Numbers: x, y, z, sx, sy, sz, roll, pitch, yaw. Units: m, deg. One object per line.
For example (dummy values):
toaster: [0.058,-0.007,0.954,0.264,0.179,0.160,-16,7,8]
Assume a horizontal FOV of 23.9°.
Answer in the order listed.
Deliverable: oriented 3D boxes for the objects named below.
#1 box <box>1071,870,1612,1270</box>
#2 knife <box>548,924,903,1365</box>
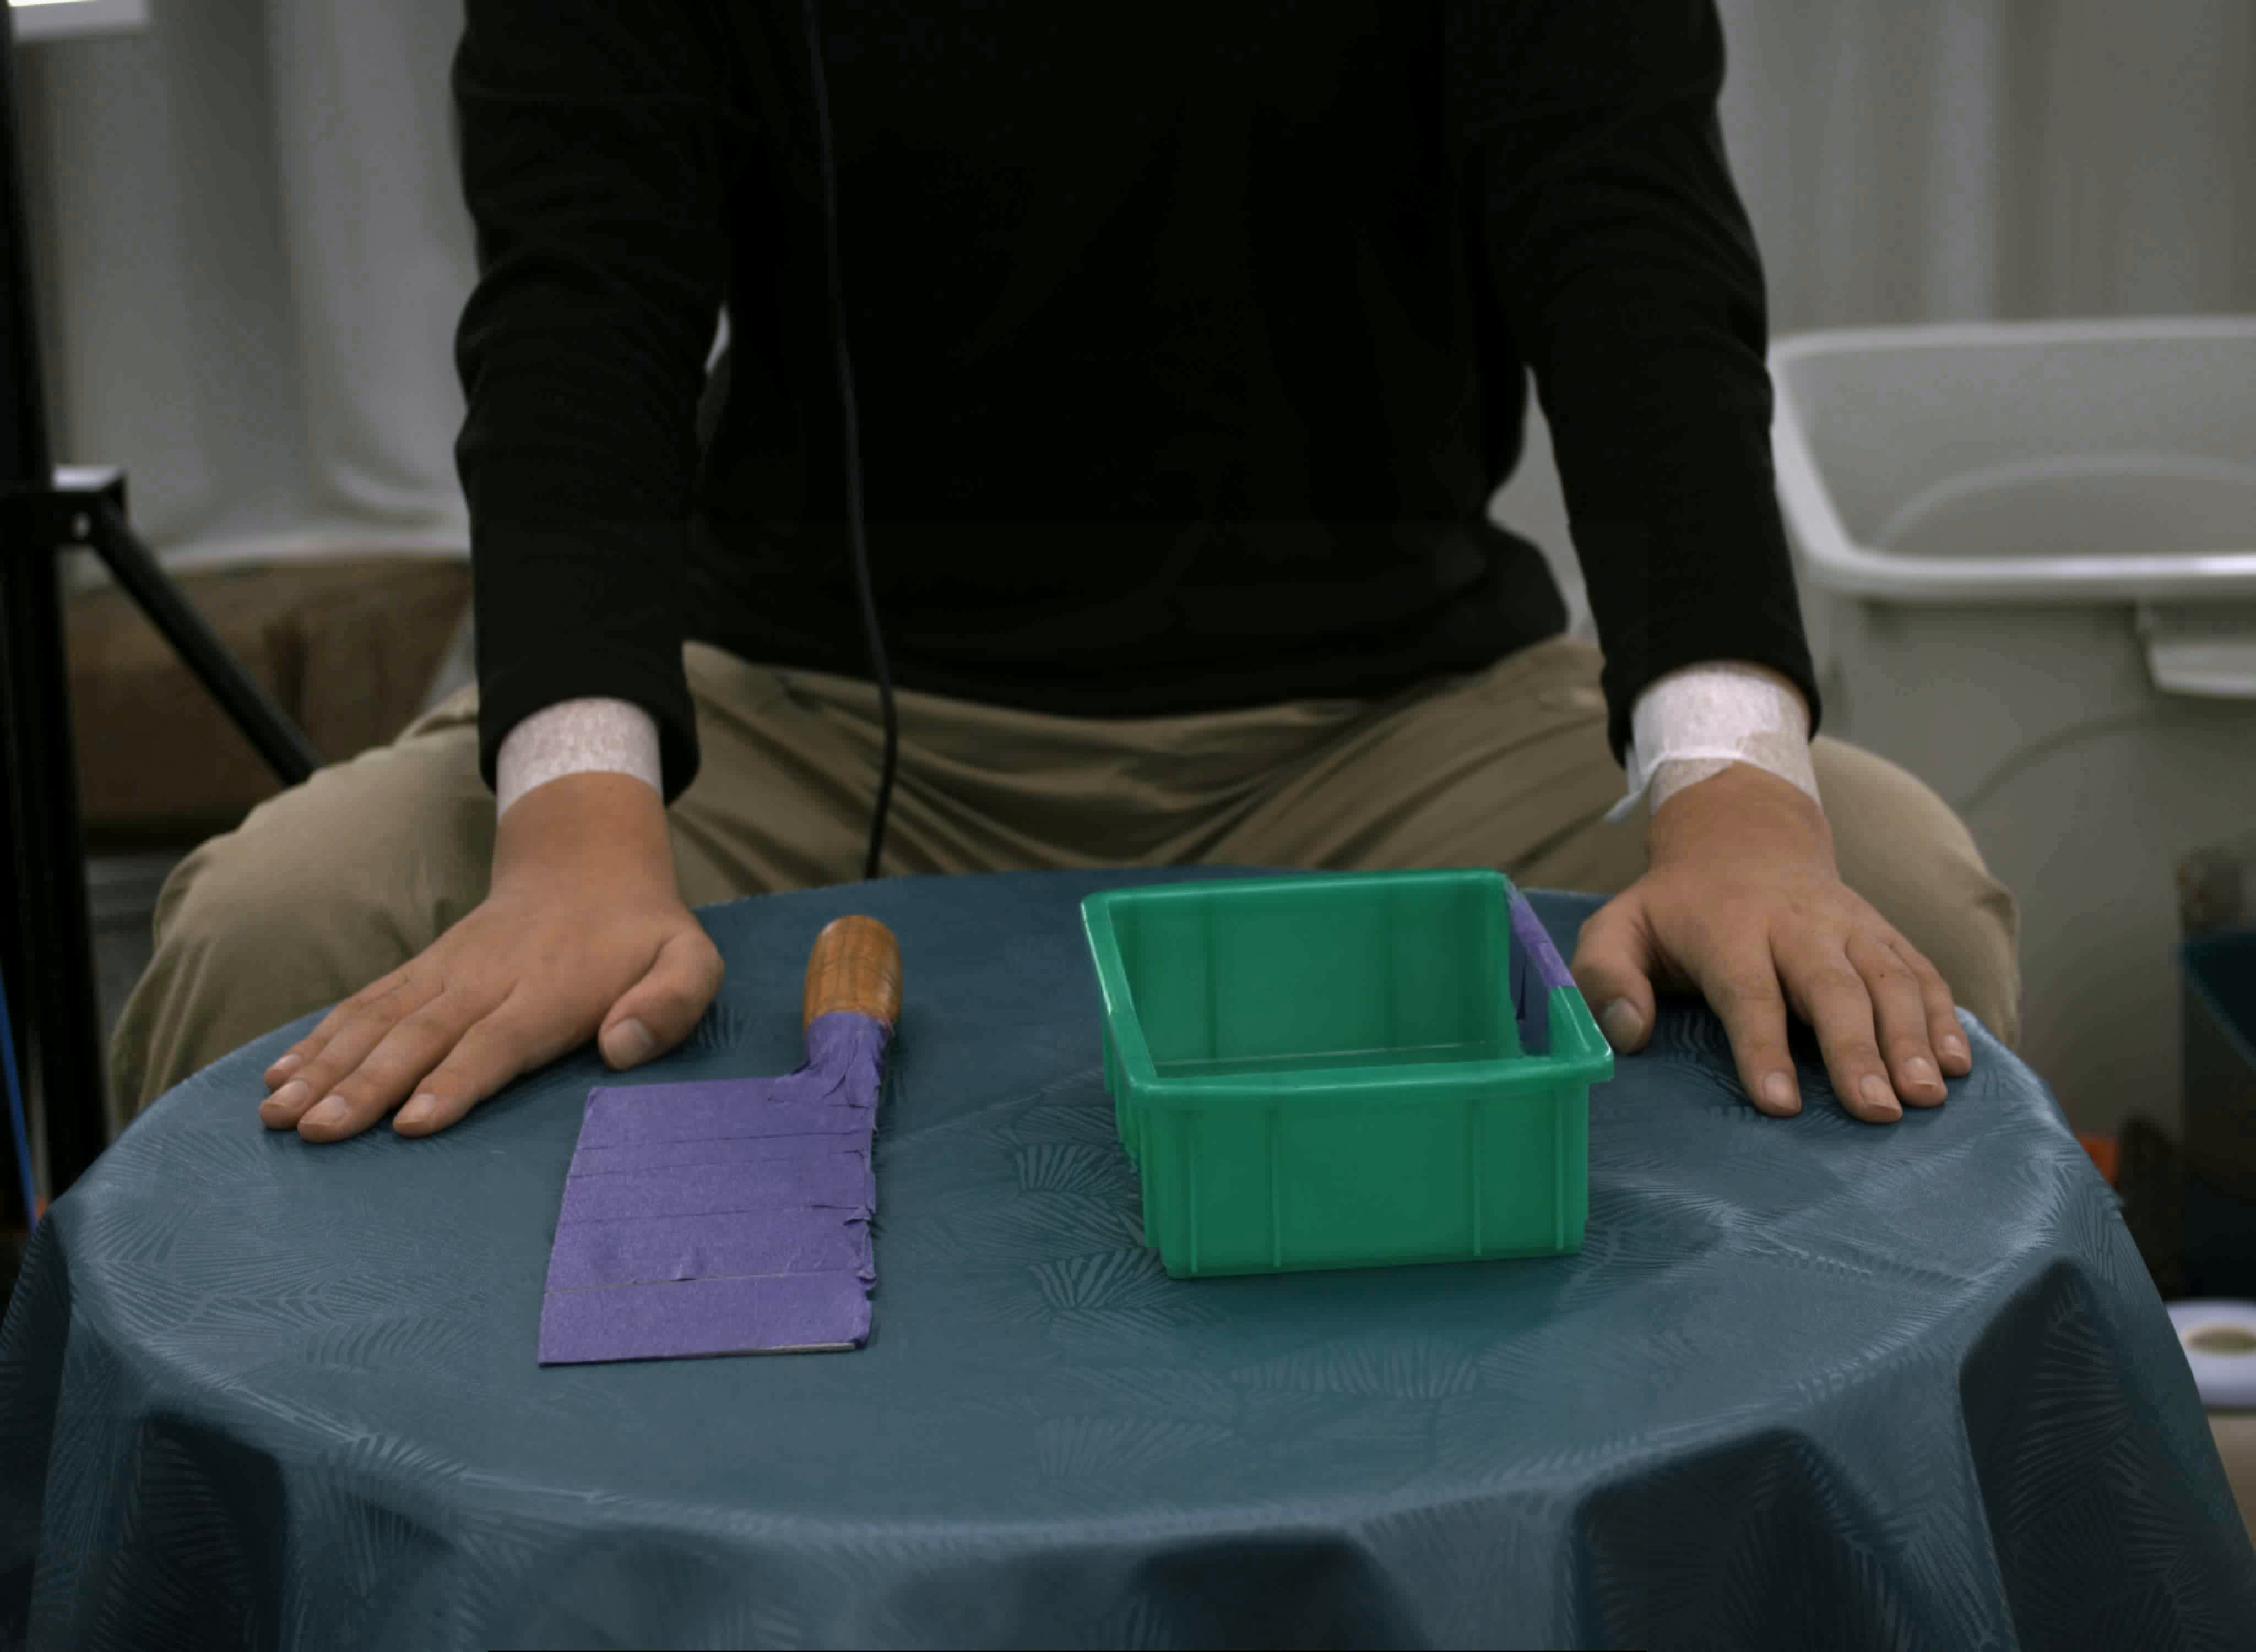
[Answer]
box: [0.060,0.071,1.566,0.137,0.065,0.212,-2,14,-5]
knife: [-0.118,0.091,1.589,0.103,0.032,0.317,-3,16,-1]
